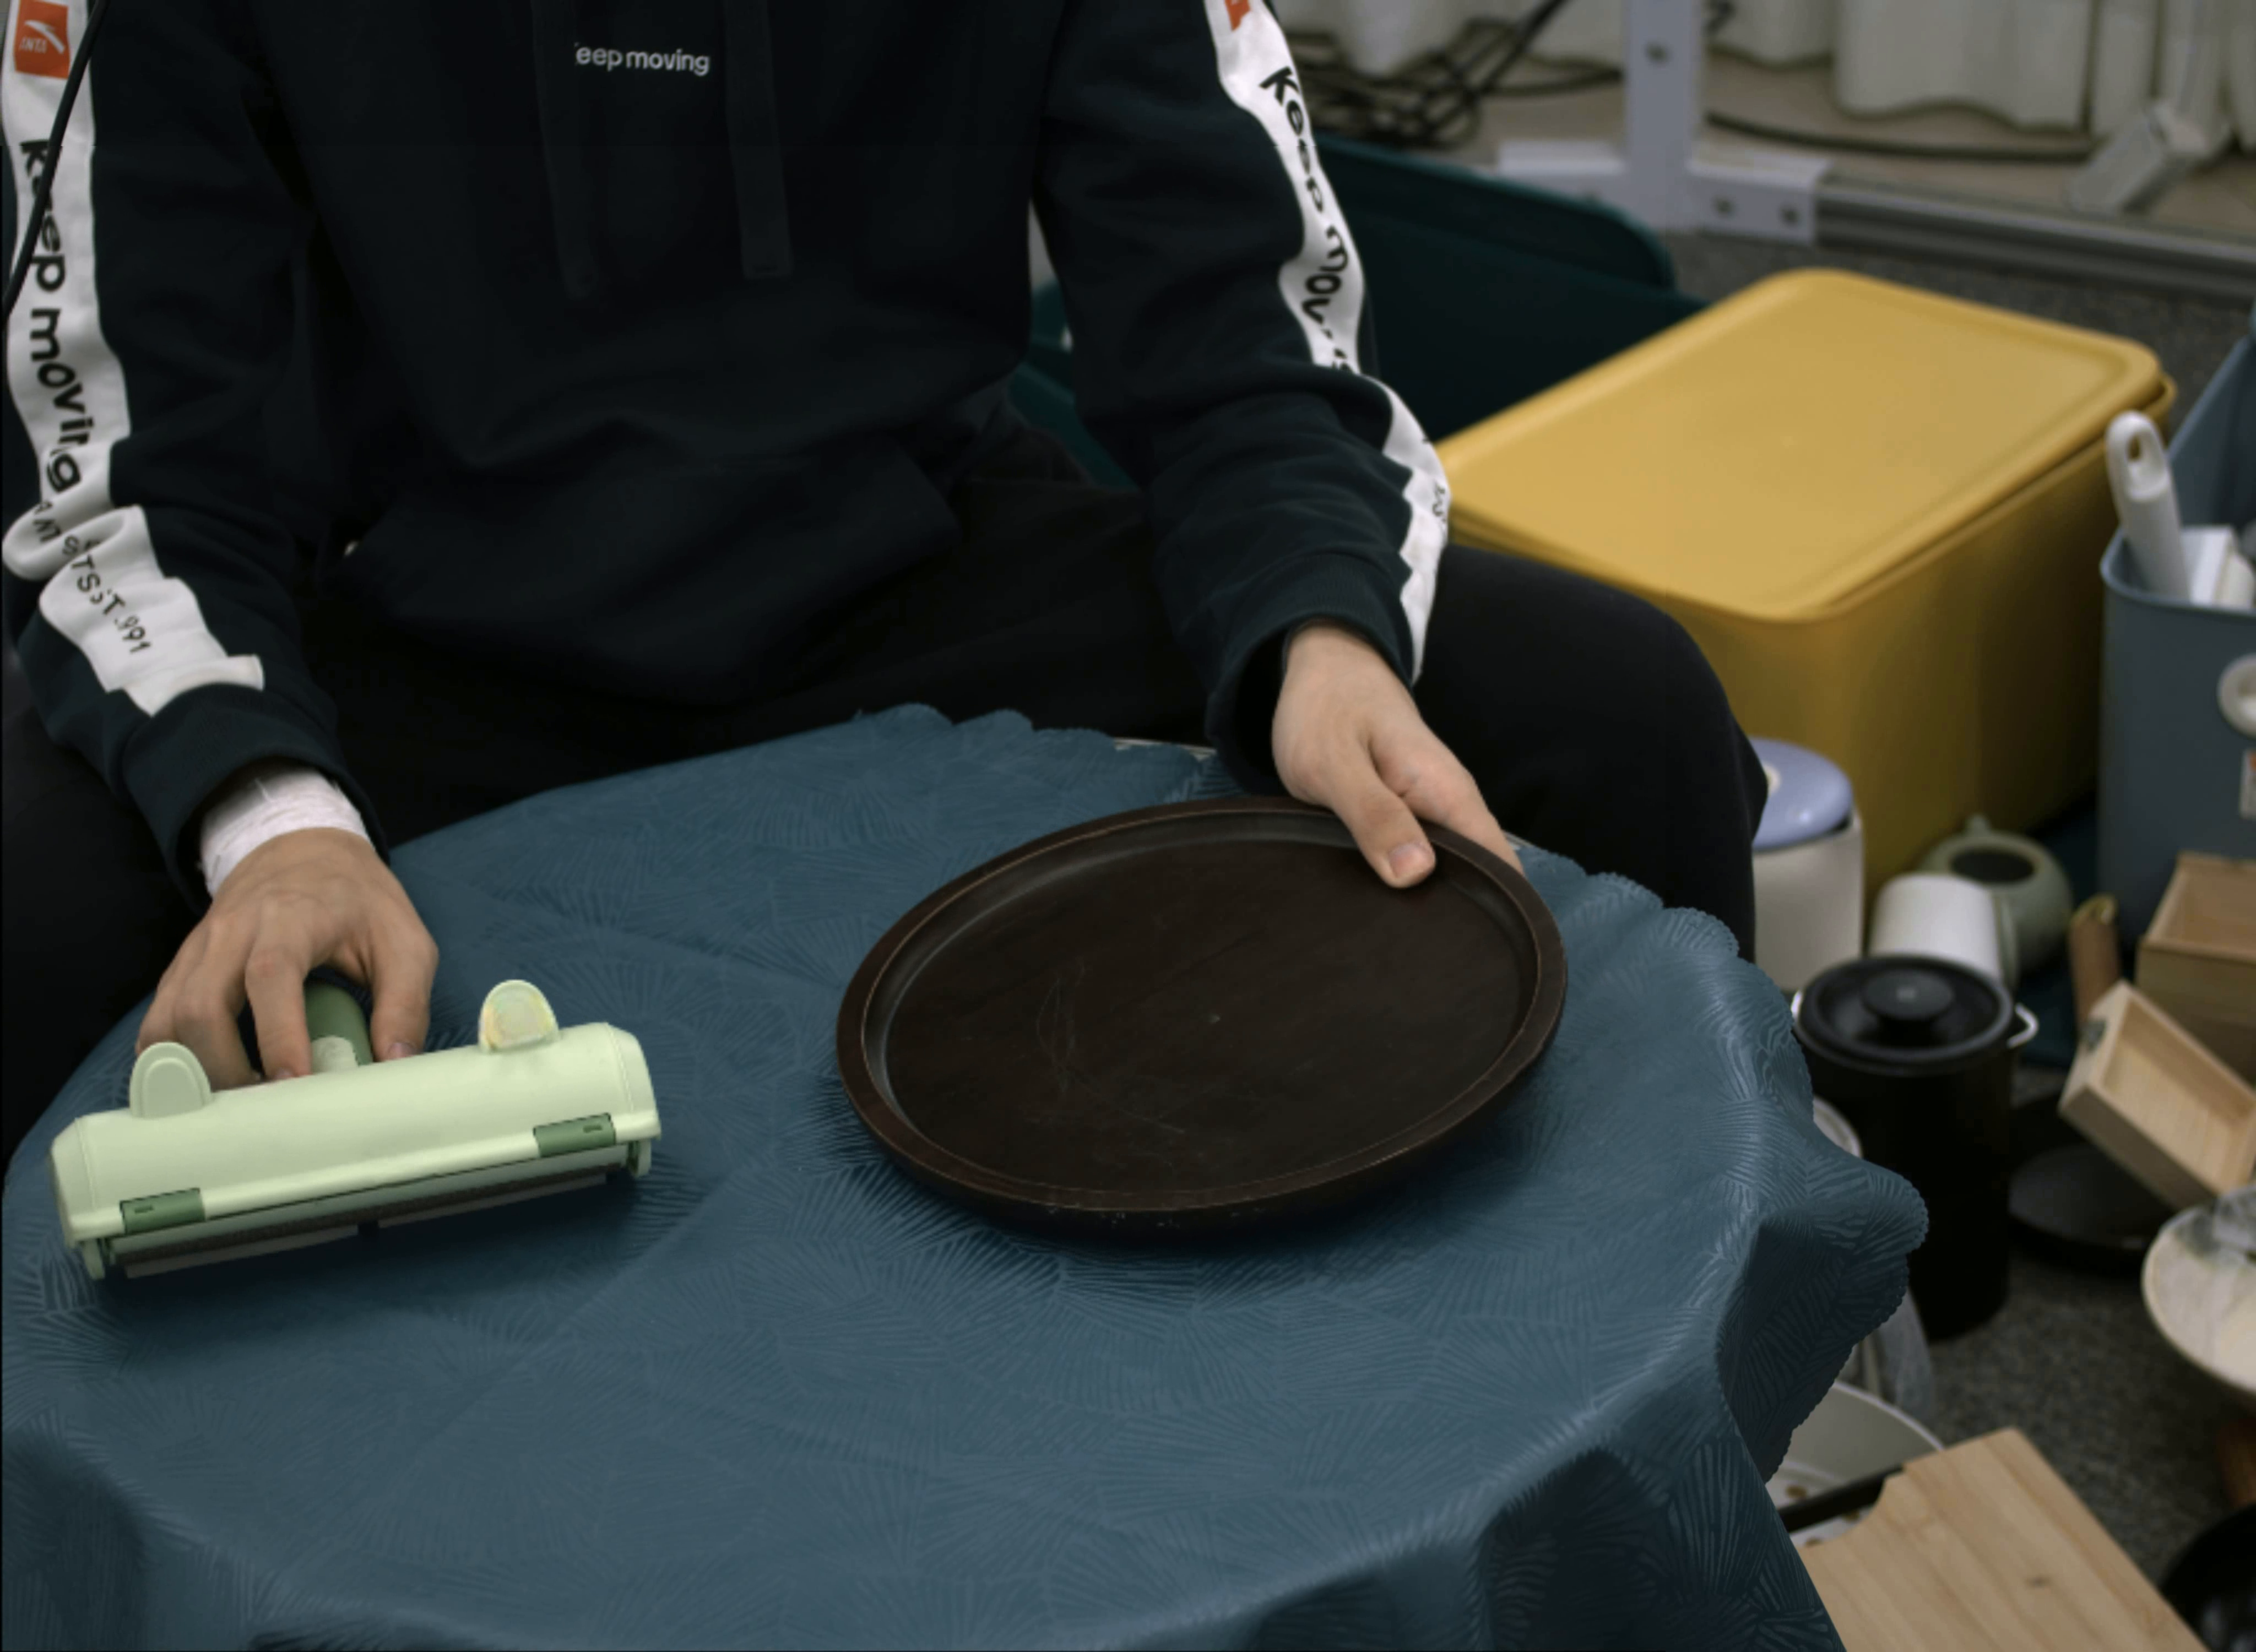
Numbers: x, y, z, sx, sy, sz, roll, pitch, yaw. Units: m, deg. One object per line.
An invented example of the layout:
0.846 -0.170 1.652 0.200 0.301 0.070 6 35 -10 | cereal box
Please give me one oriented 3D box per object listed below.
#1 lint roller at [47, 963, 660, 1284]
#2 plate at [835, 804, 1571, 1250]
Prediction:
-0.270 0.074 1.890 0.199 0.081 0.185 -10 32 -14 | lint roller
0.026 0.066 1.916 0.253 0.028 0.259 -6 32 4 | plate
